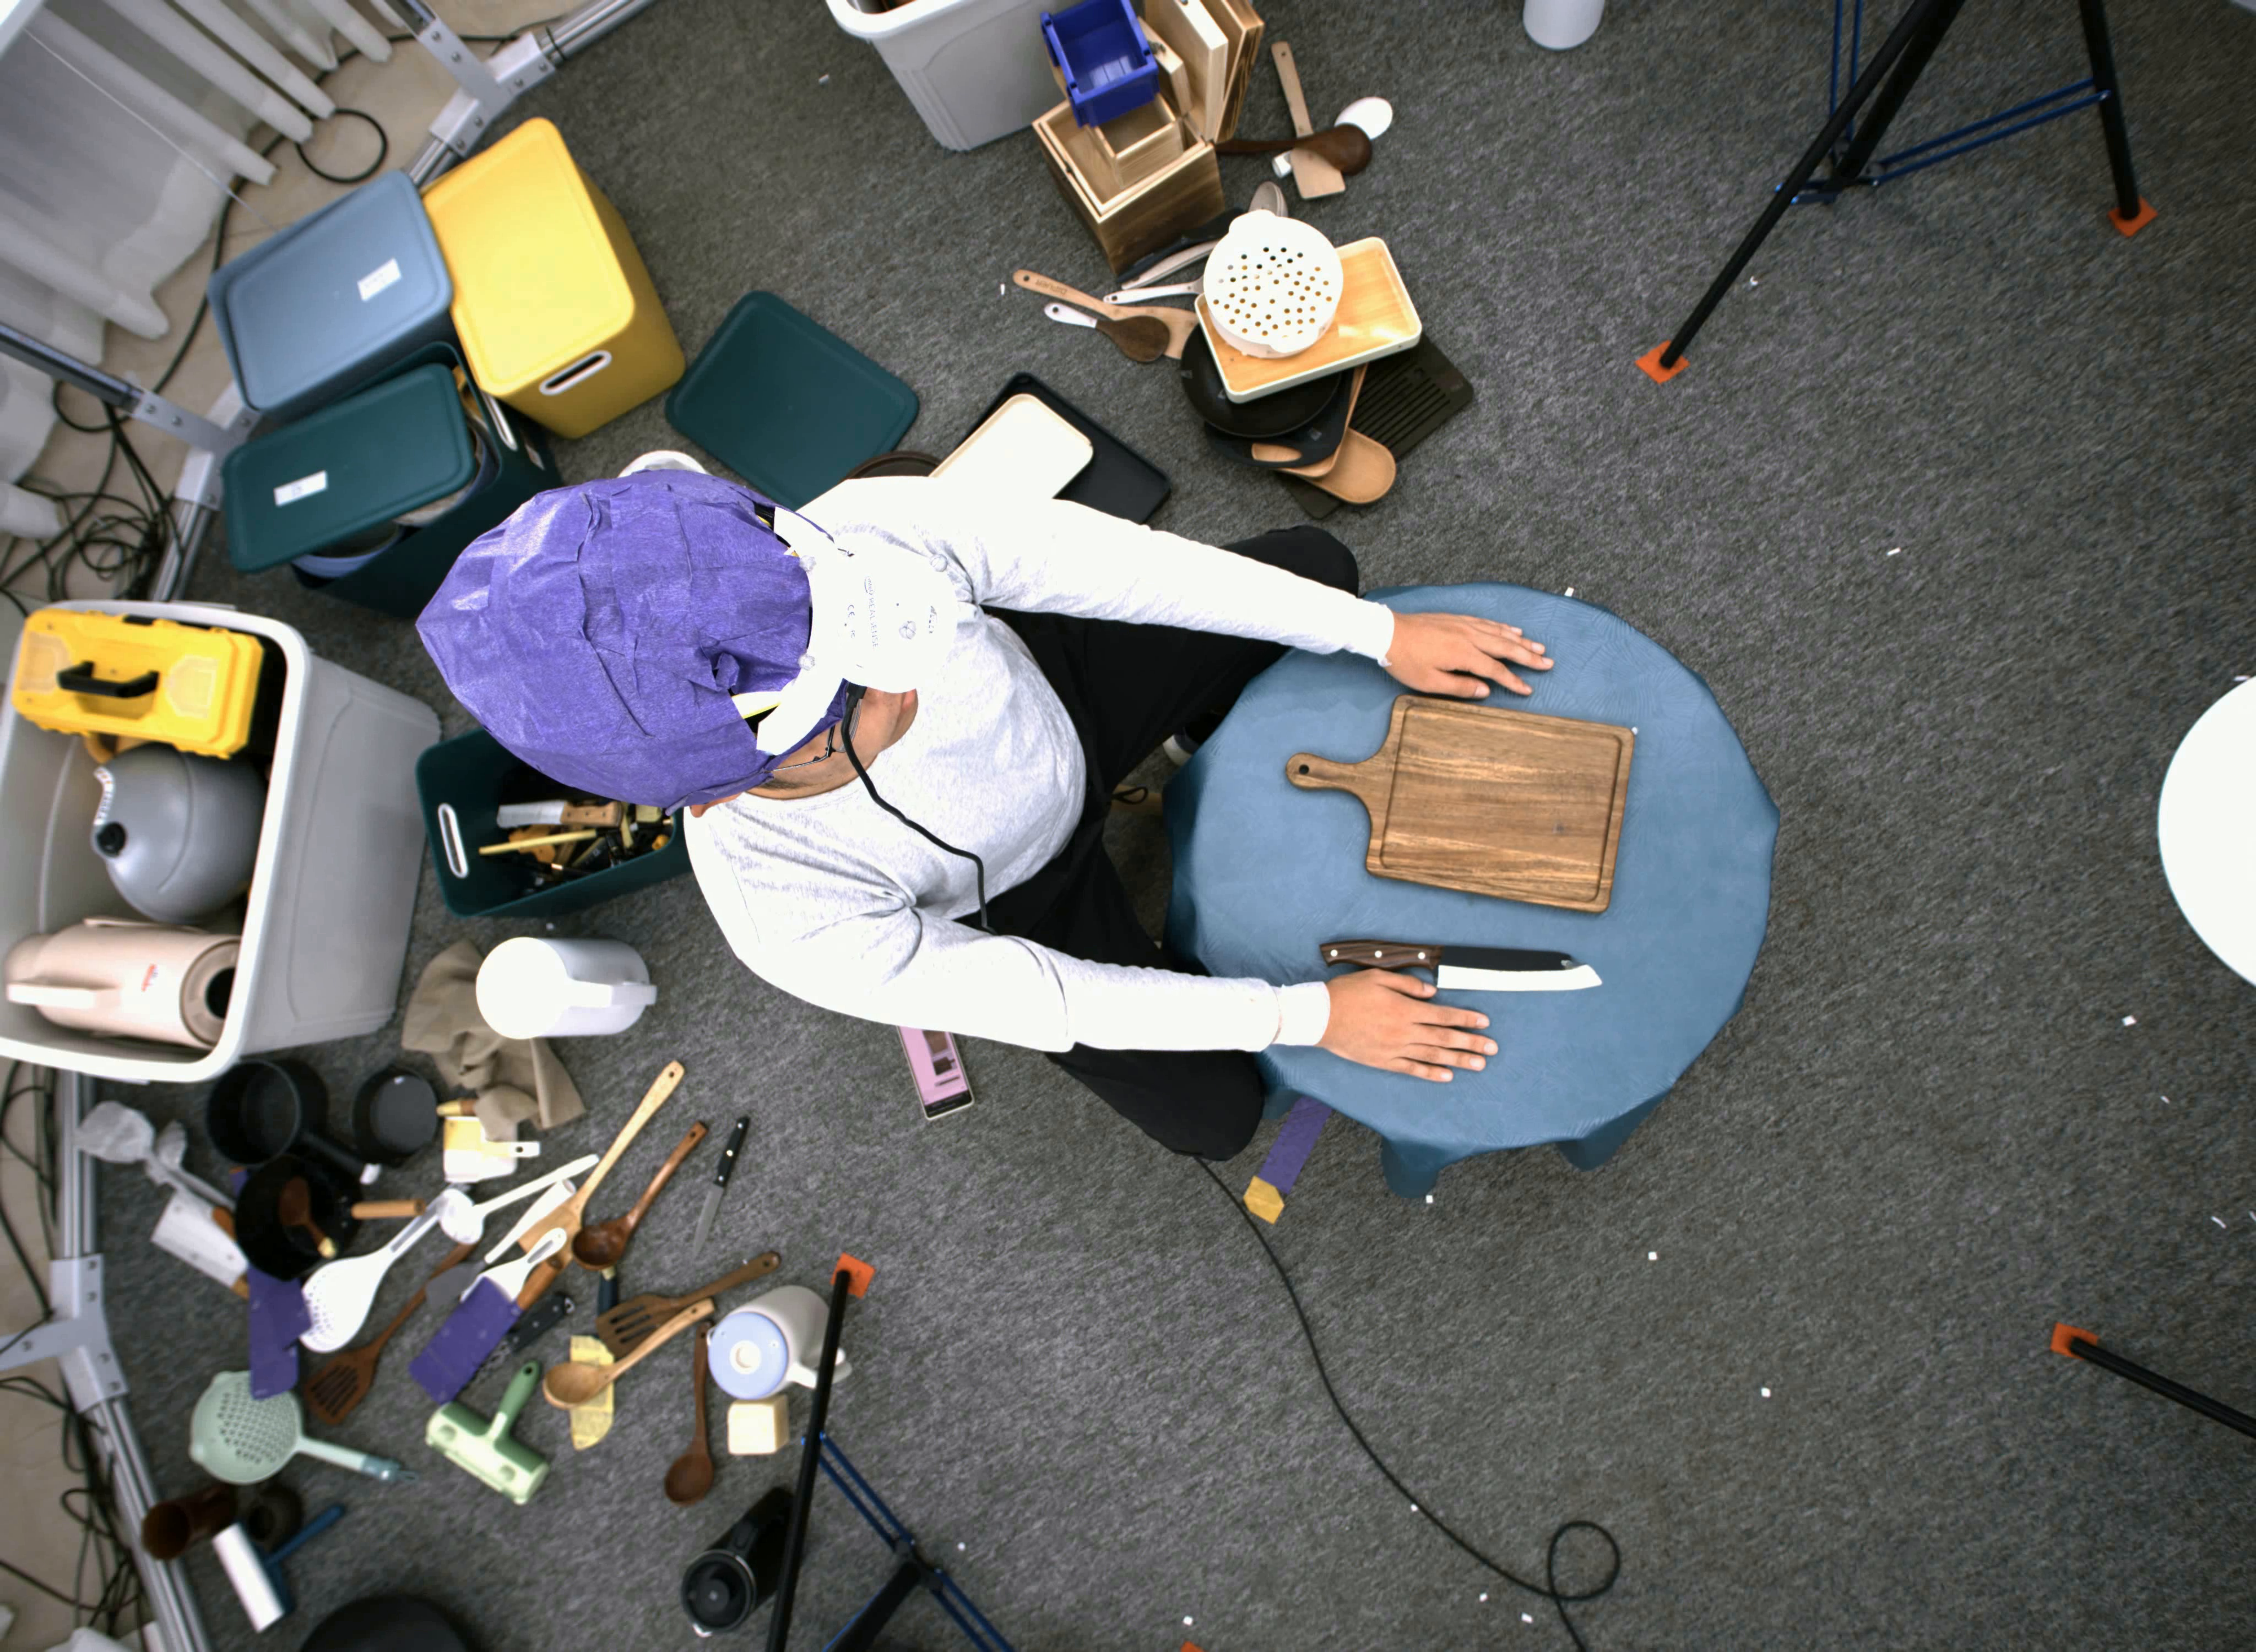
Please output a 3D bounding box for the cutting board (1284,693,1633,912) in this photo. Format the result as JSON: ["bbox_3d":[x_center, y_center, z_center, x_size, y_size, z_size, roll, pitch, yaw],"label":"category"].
[{"bbox_3d":[0.338,-0.036,1.443,0.353,0.023,0.200,9,88,11],"label":"cutting board"}]

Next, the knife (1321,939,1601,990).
[{"bbox_3d":[0.345,0.142,1.435,0.290,0.020,0.050,4,92,8],"label":"knife"}]
